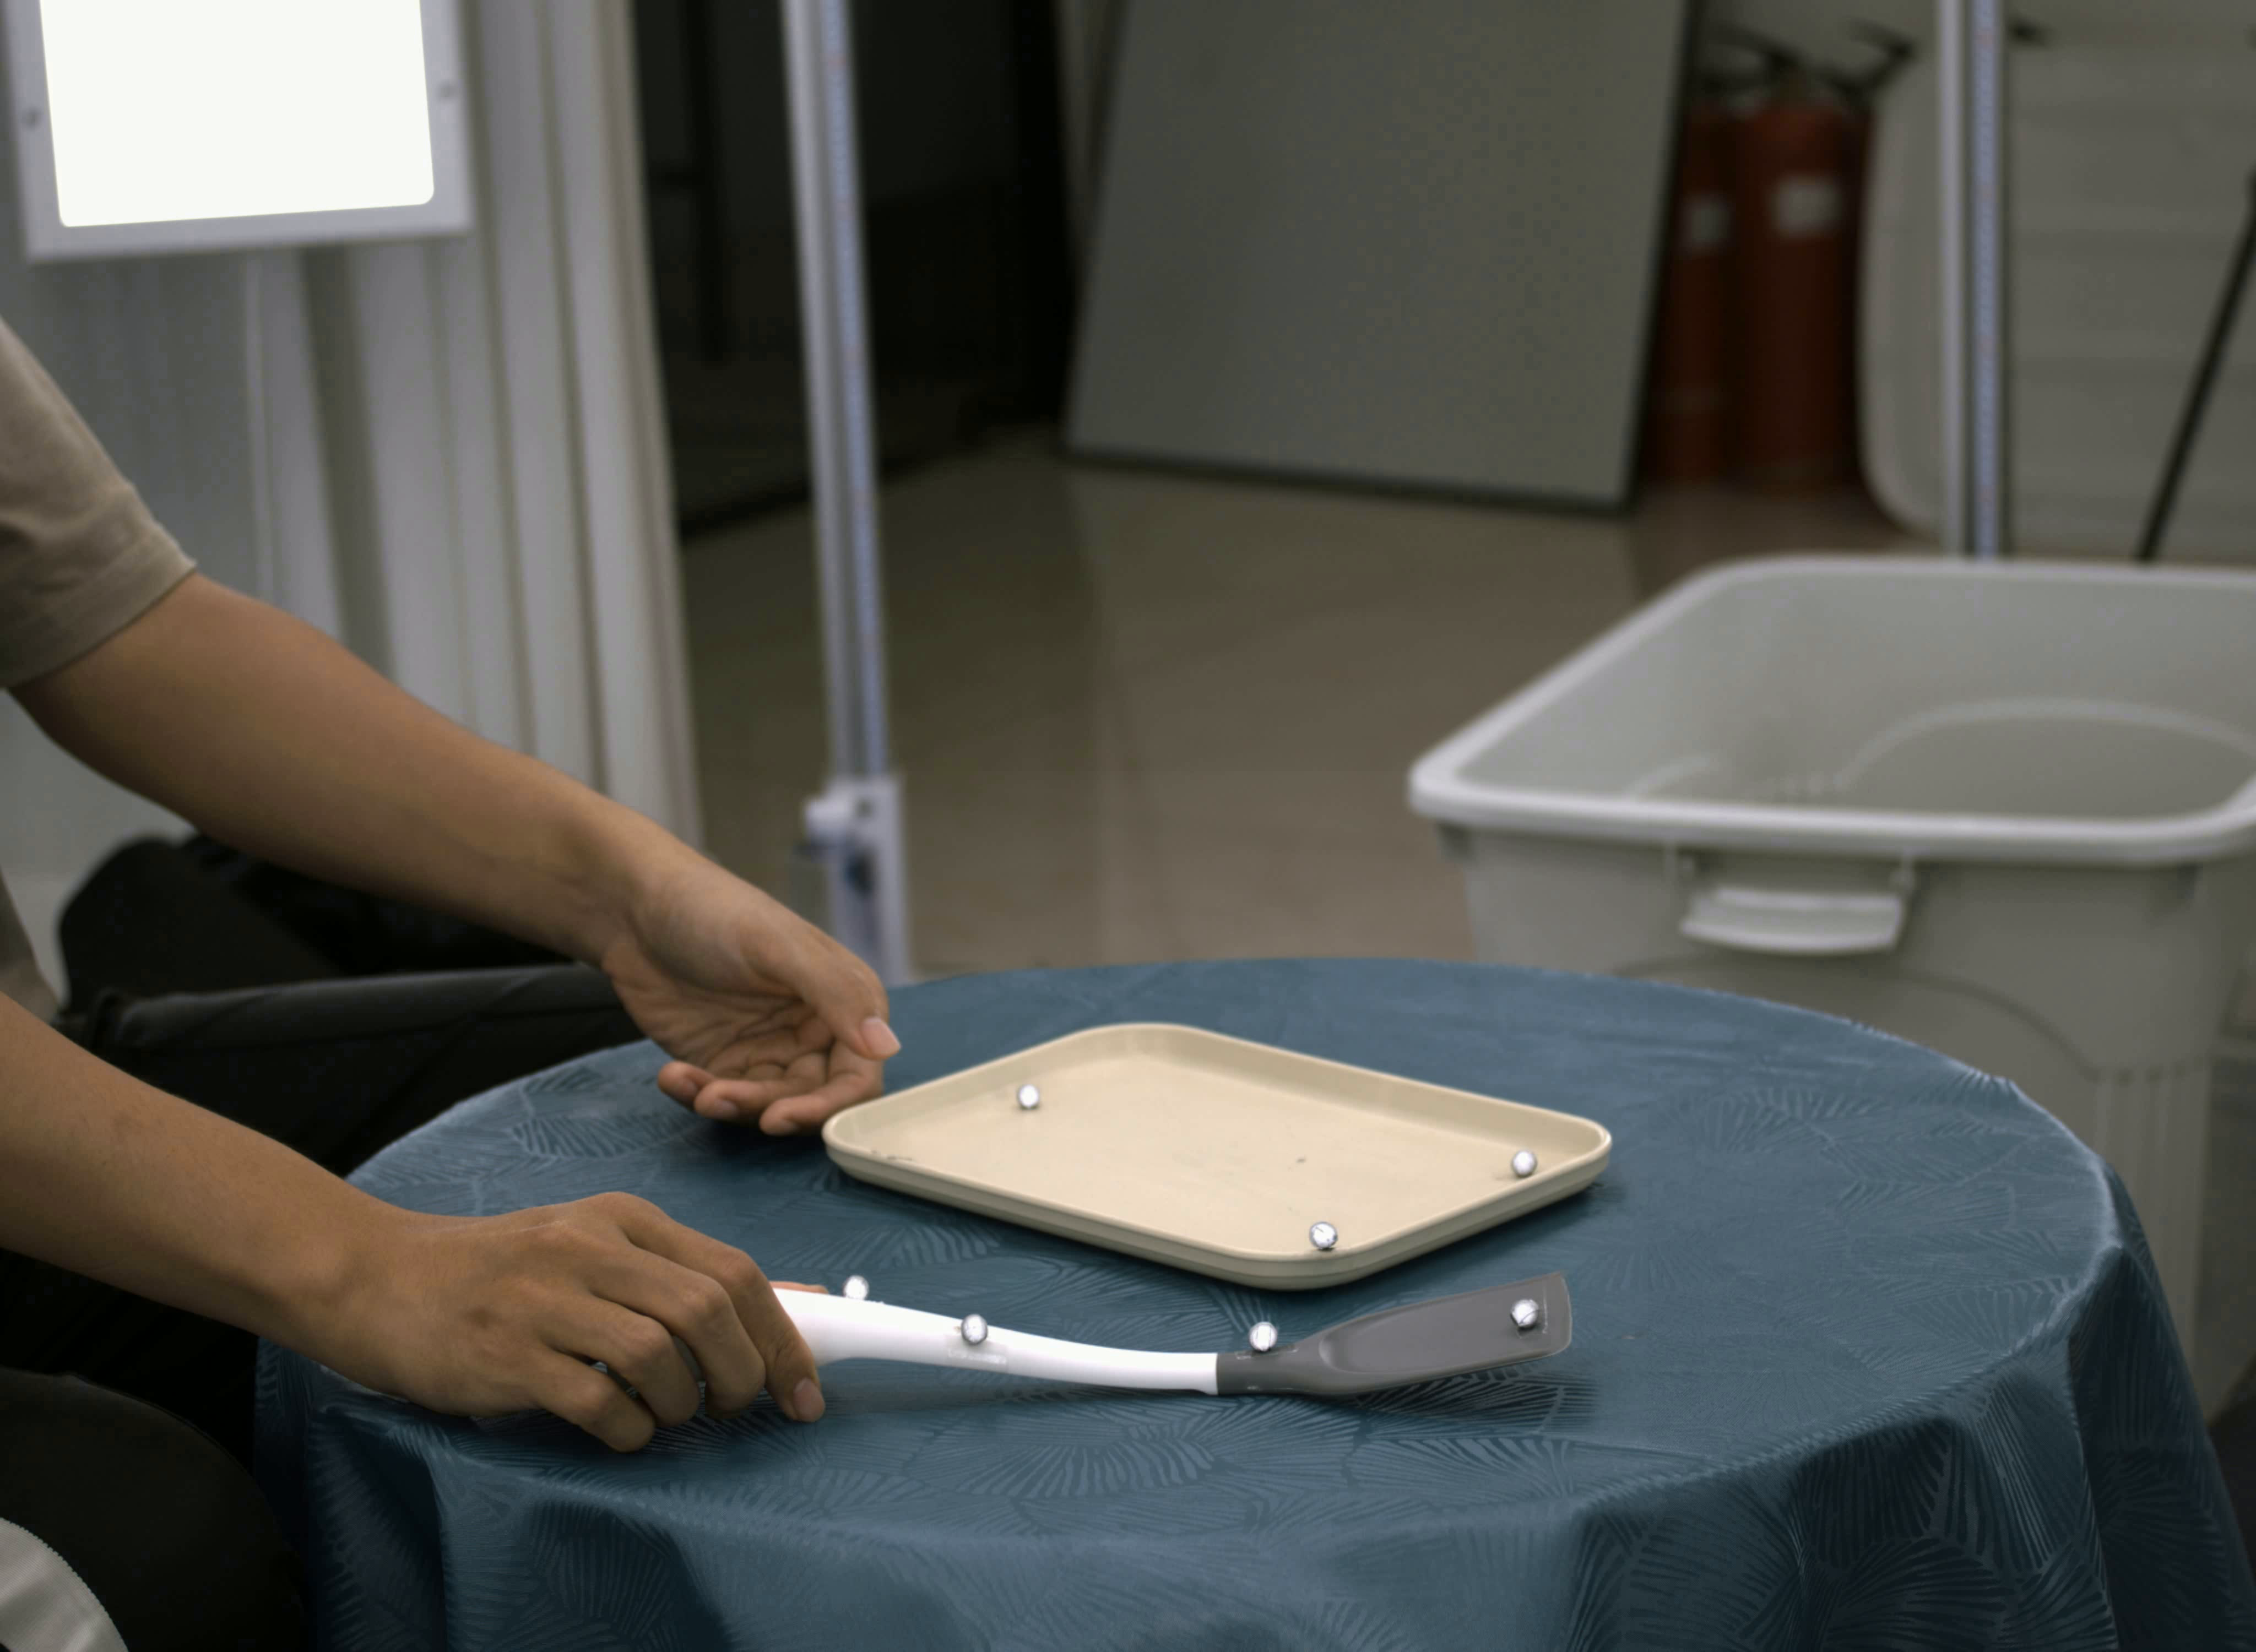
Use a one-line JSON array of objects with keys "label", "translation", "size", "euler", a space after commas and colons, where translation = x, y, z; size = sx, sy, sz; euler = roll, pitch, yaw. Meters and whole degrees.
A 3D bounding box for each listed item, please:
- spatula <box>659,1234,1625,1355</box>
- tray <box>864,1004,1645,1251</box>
[{"label": "spatula", "translation": [0.004, 0.139, 1.591], "size": [0.285, 0.032, 0.058], "euler": [0, 16, 7]}, {"label": "tray", "translation": [0.041, 0.099, 1.790], "size": [0.168, 0.018, 0.242], "euler": [-15, 17, -42]}]
